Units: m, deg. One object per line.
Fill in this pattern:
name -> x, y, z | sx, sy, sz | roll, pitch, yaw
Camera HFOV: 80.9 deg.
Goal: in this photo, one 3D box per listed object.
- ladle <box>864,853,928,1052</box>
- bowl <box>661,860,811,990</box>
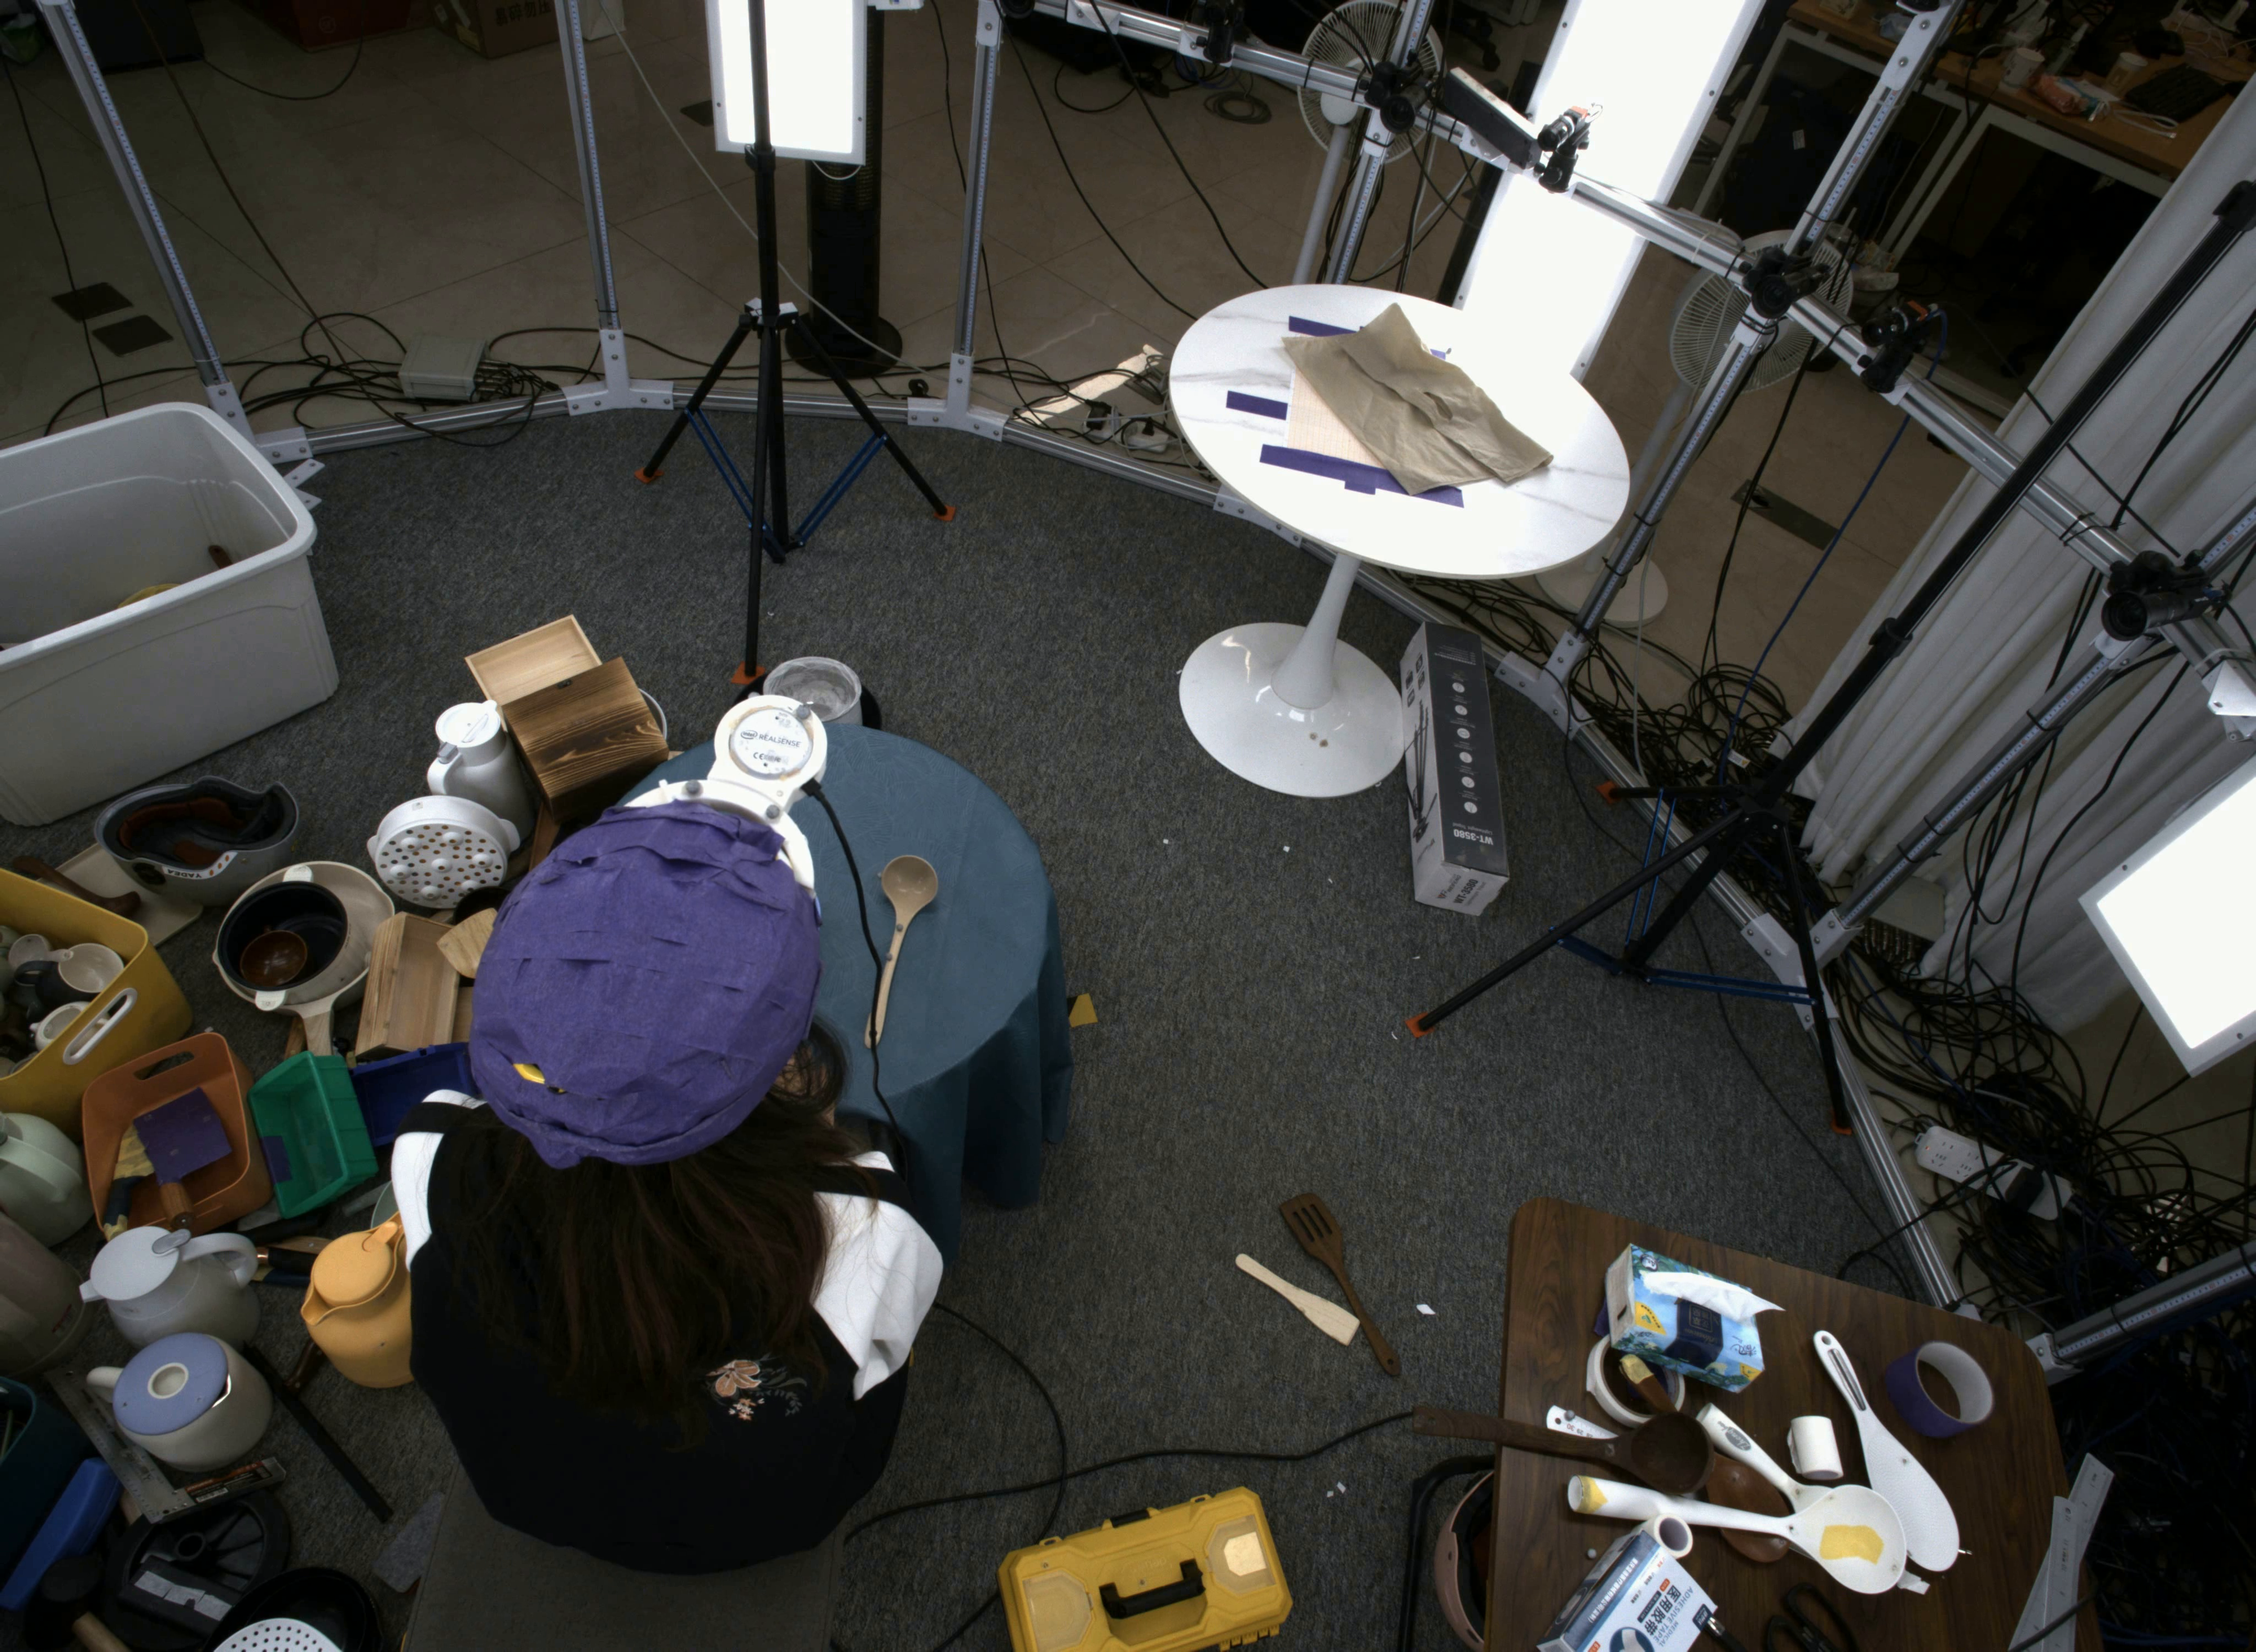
ladle -> -0.296, 0.145, 1.596 | 0.072, 0.074, 0.250 | 8, 52, -6
bowl -> -0.471, 0.129, 1.565 | 0.175, 0.072, 0.173 | 7, 52, -8
